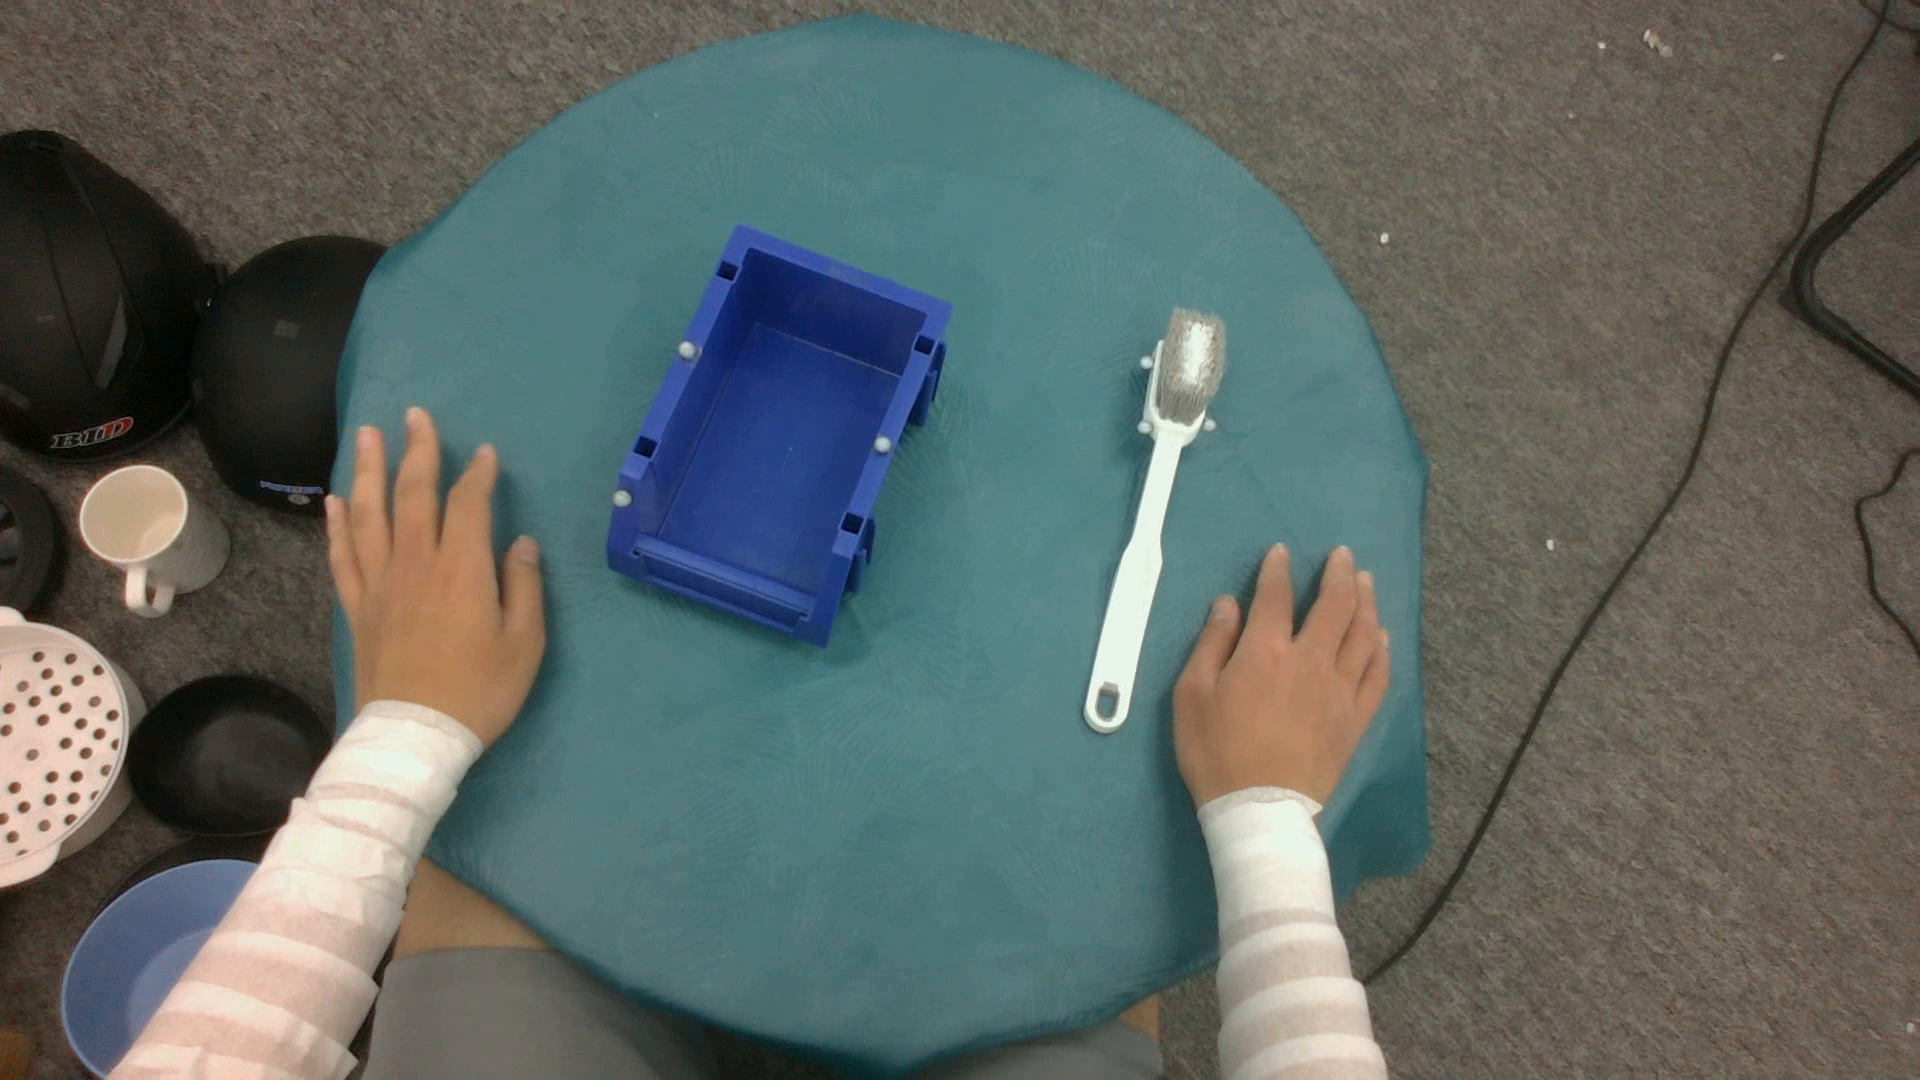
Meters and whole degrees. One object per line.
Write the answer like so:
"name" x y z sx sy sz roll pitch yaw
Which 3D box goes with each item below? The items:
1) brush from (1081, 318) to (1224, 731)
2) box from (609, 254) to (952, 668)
"brush" 0.107 -0.014 0.761 0.034 0.050 0.244 17 69 -1
"box" -0.092 -0.039 0.729 0.124 0.081 0.180 21 68 0
